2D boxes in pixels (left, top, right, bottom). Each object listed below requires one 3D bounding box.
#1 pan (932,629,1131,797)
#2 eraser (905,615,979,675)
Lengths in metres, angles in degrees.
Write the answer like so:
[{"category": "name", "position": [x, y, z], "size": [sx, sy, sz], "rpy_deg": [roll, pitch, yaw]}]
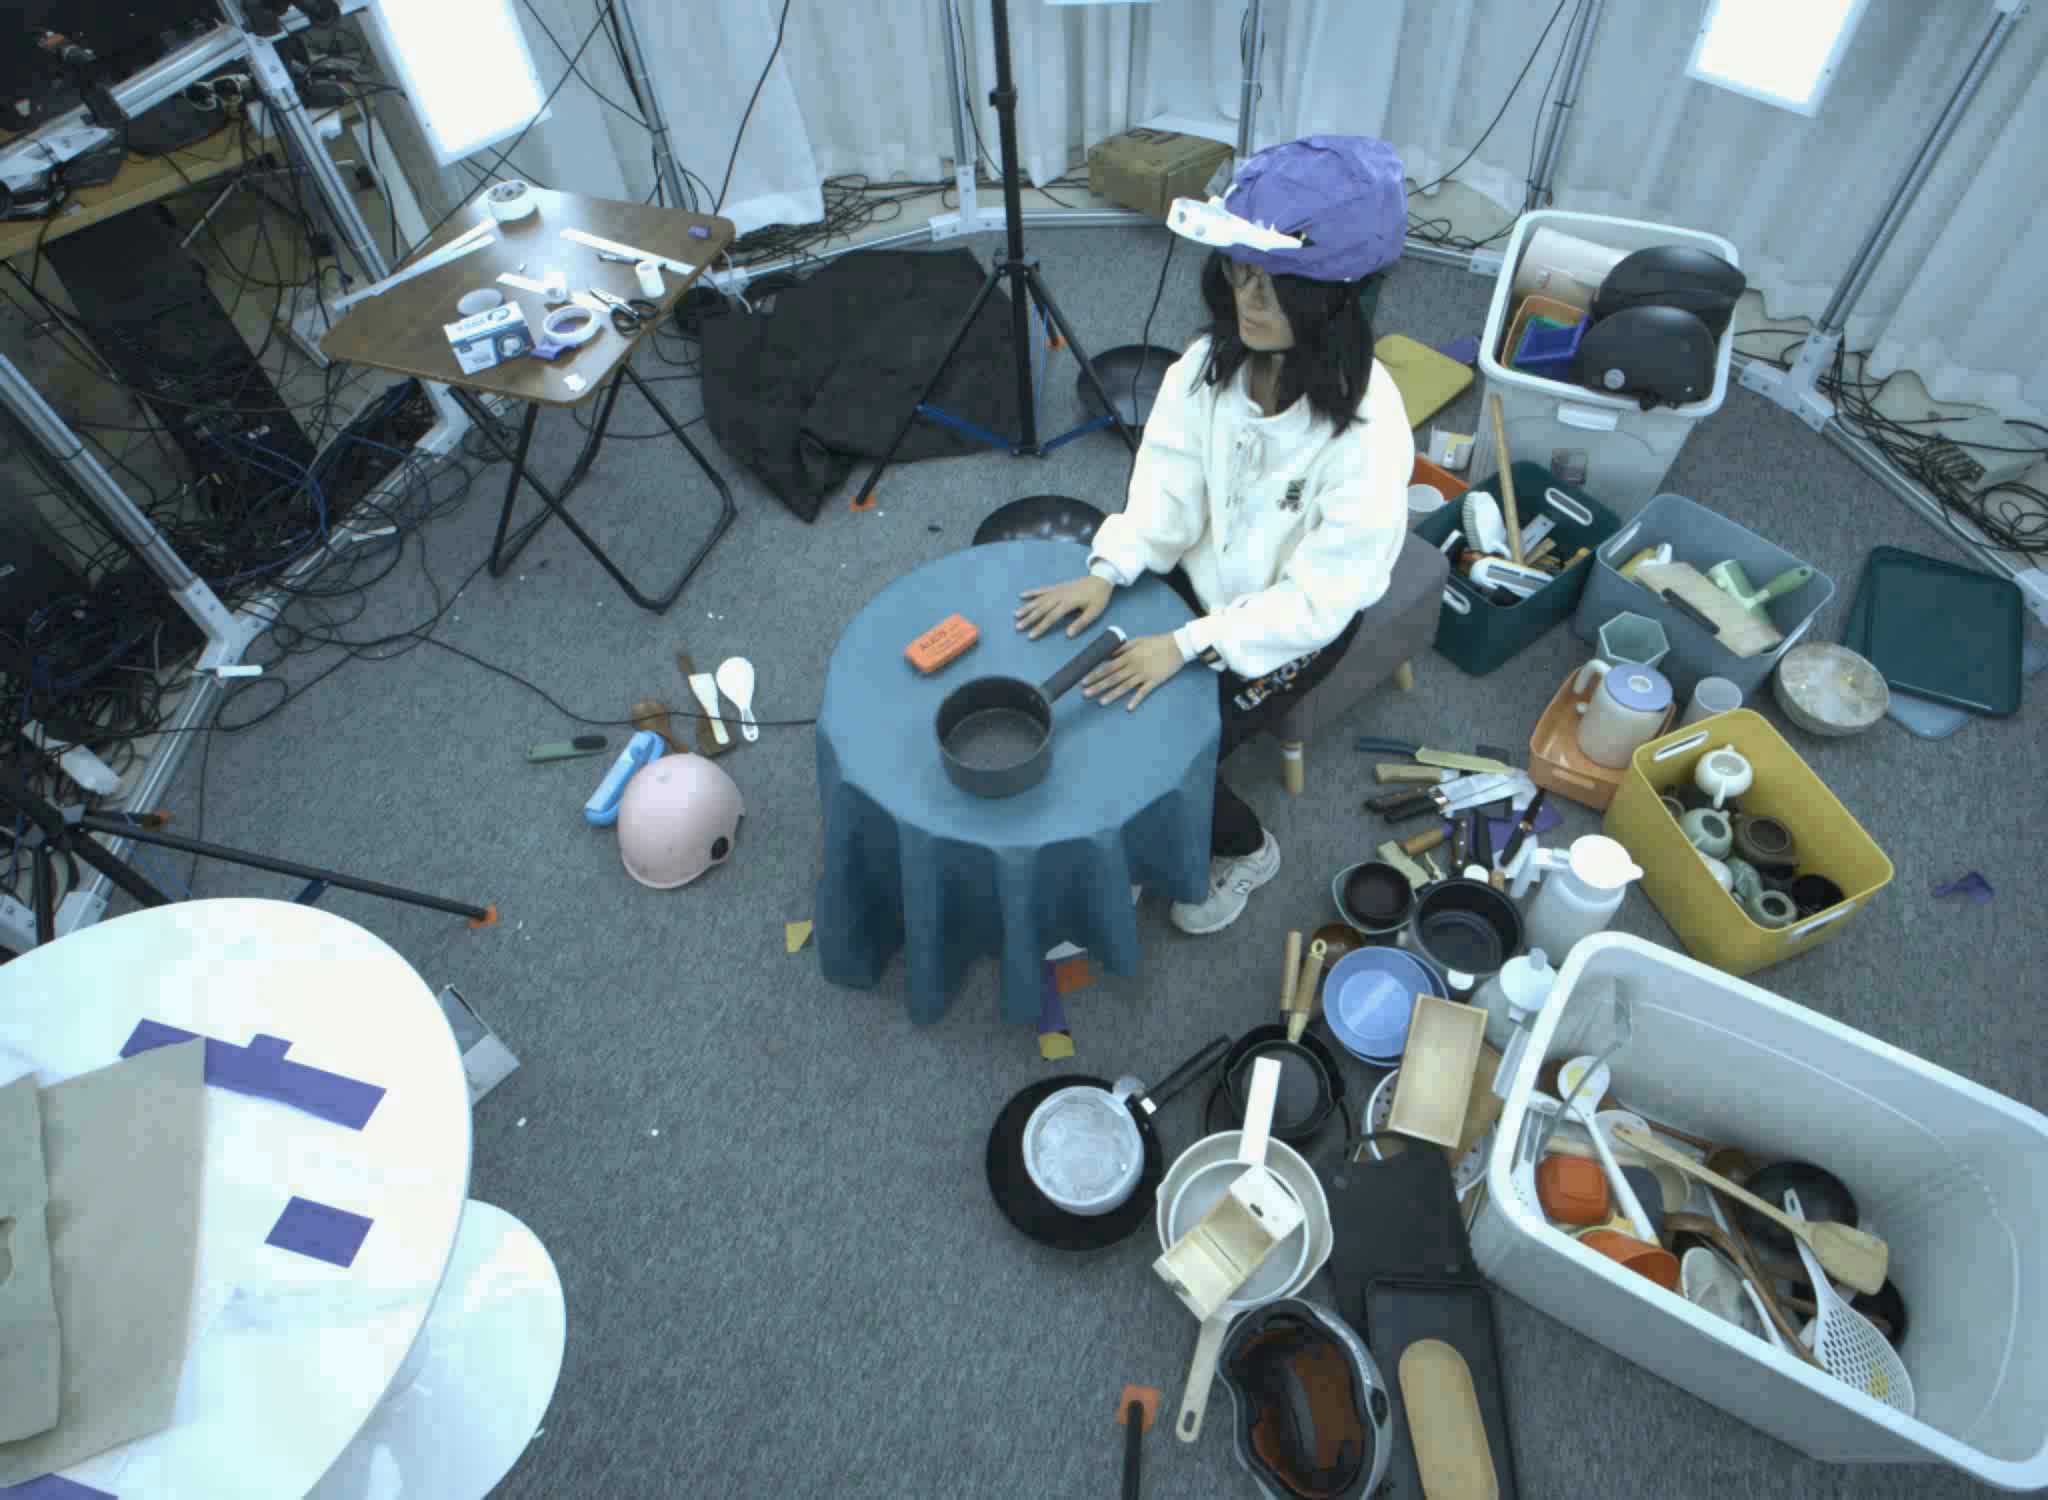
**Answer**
[{"category": "pan", "position": [0.021, -0.062, 1.780], "size": [0.331, 0.087, 0.169], "rpy_deg": [-34, 61, -19]}, {"category": "eraser", "position": [-0.126, -0.163, 1.893], "size": [0.109, 0.023, 0.058], "rpy_deg": [-37, 61, -21]}]
